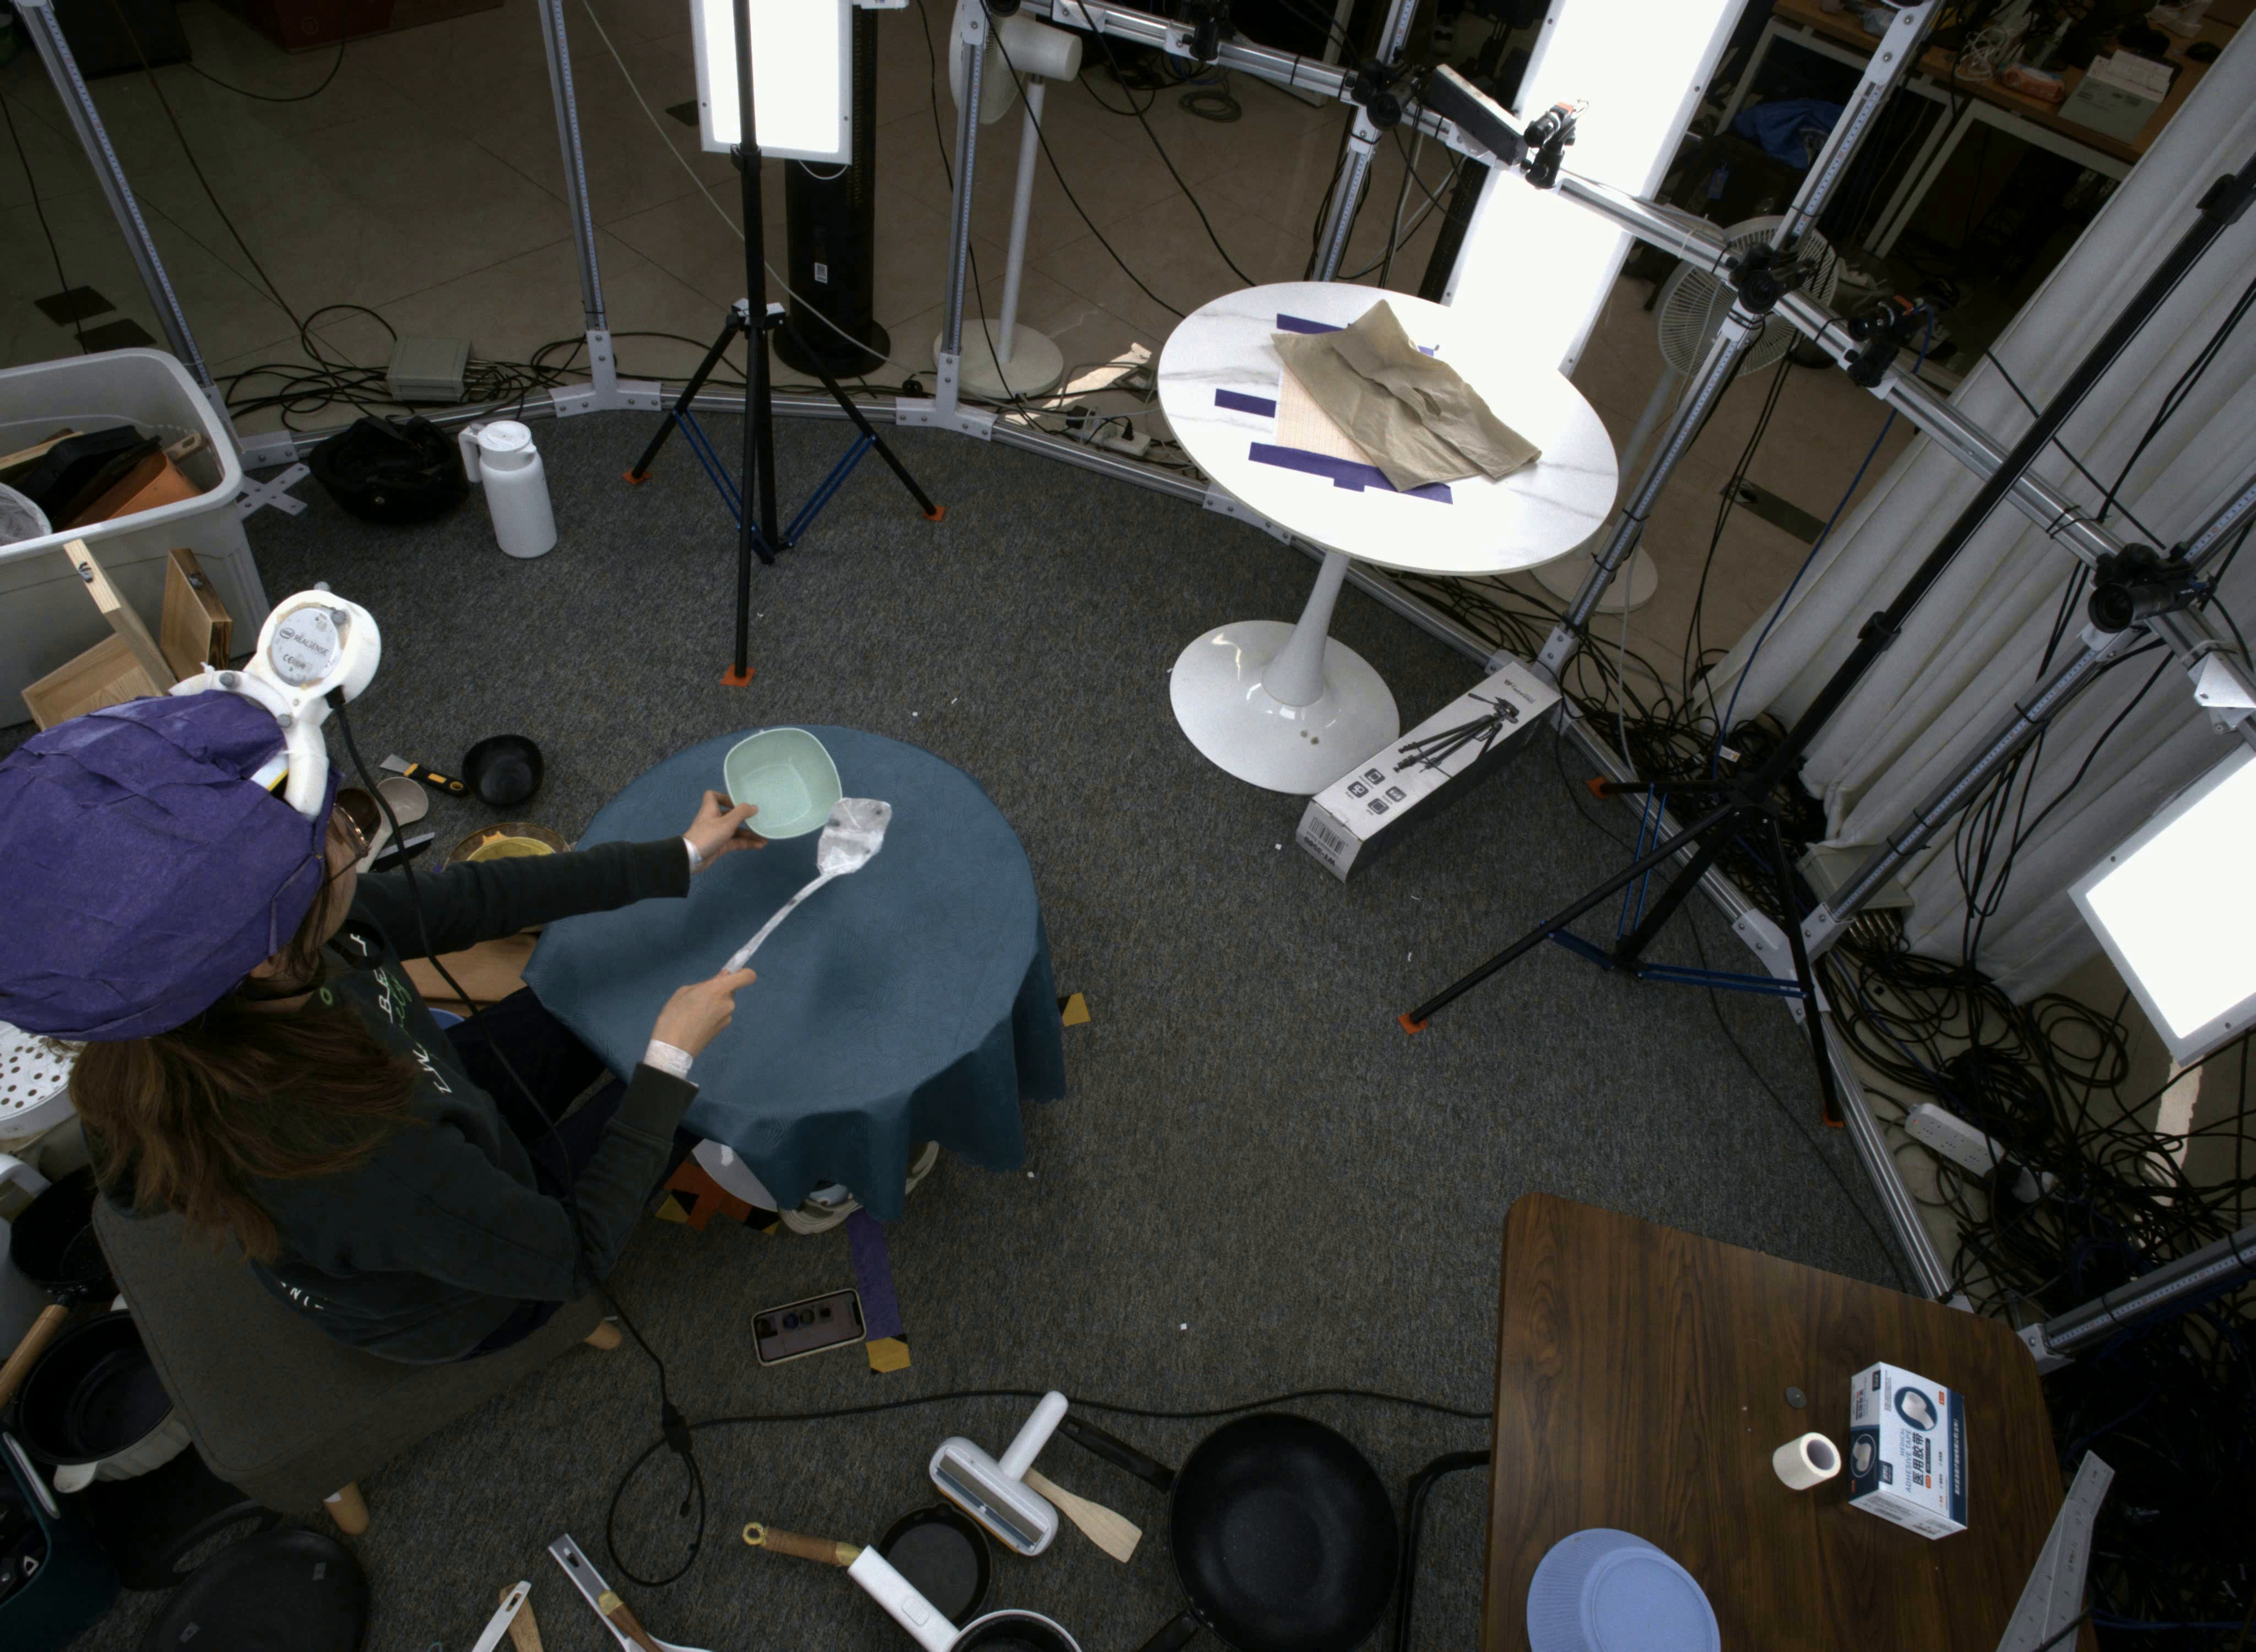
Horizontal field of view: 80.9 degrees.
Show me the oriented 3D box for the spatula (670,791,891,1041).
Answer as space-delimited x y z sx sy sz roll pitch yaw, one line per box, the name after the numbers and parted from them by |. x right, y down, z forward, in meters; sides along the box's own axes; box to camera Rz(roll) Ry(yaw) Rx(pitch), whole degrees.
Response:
-0.392 0.093 1.448 0.095 0.046 0.364 11 46 32 | spatula

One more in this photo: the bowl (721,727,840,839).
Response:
-0.440 -0.047 1.622 0.154 0.058 0.150 12 67 -26 | bowl
